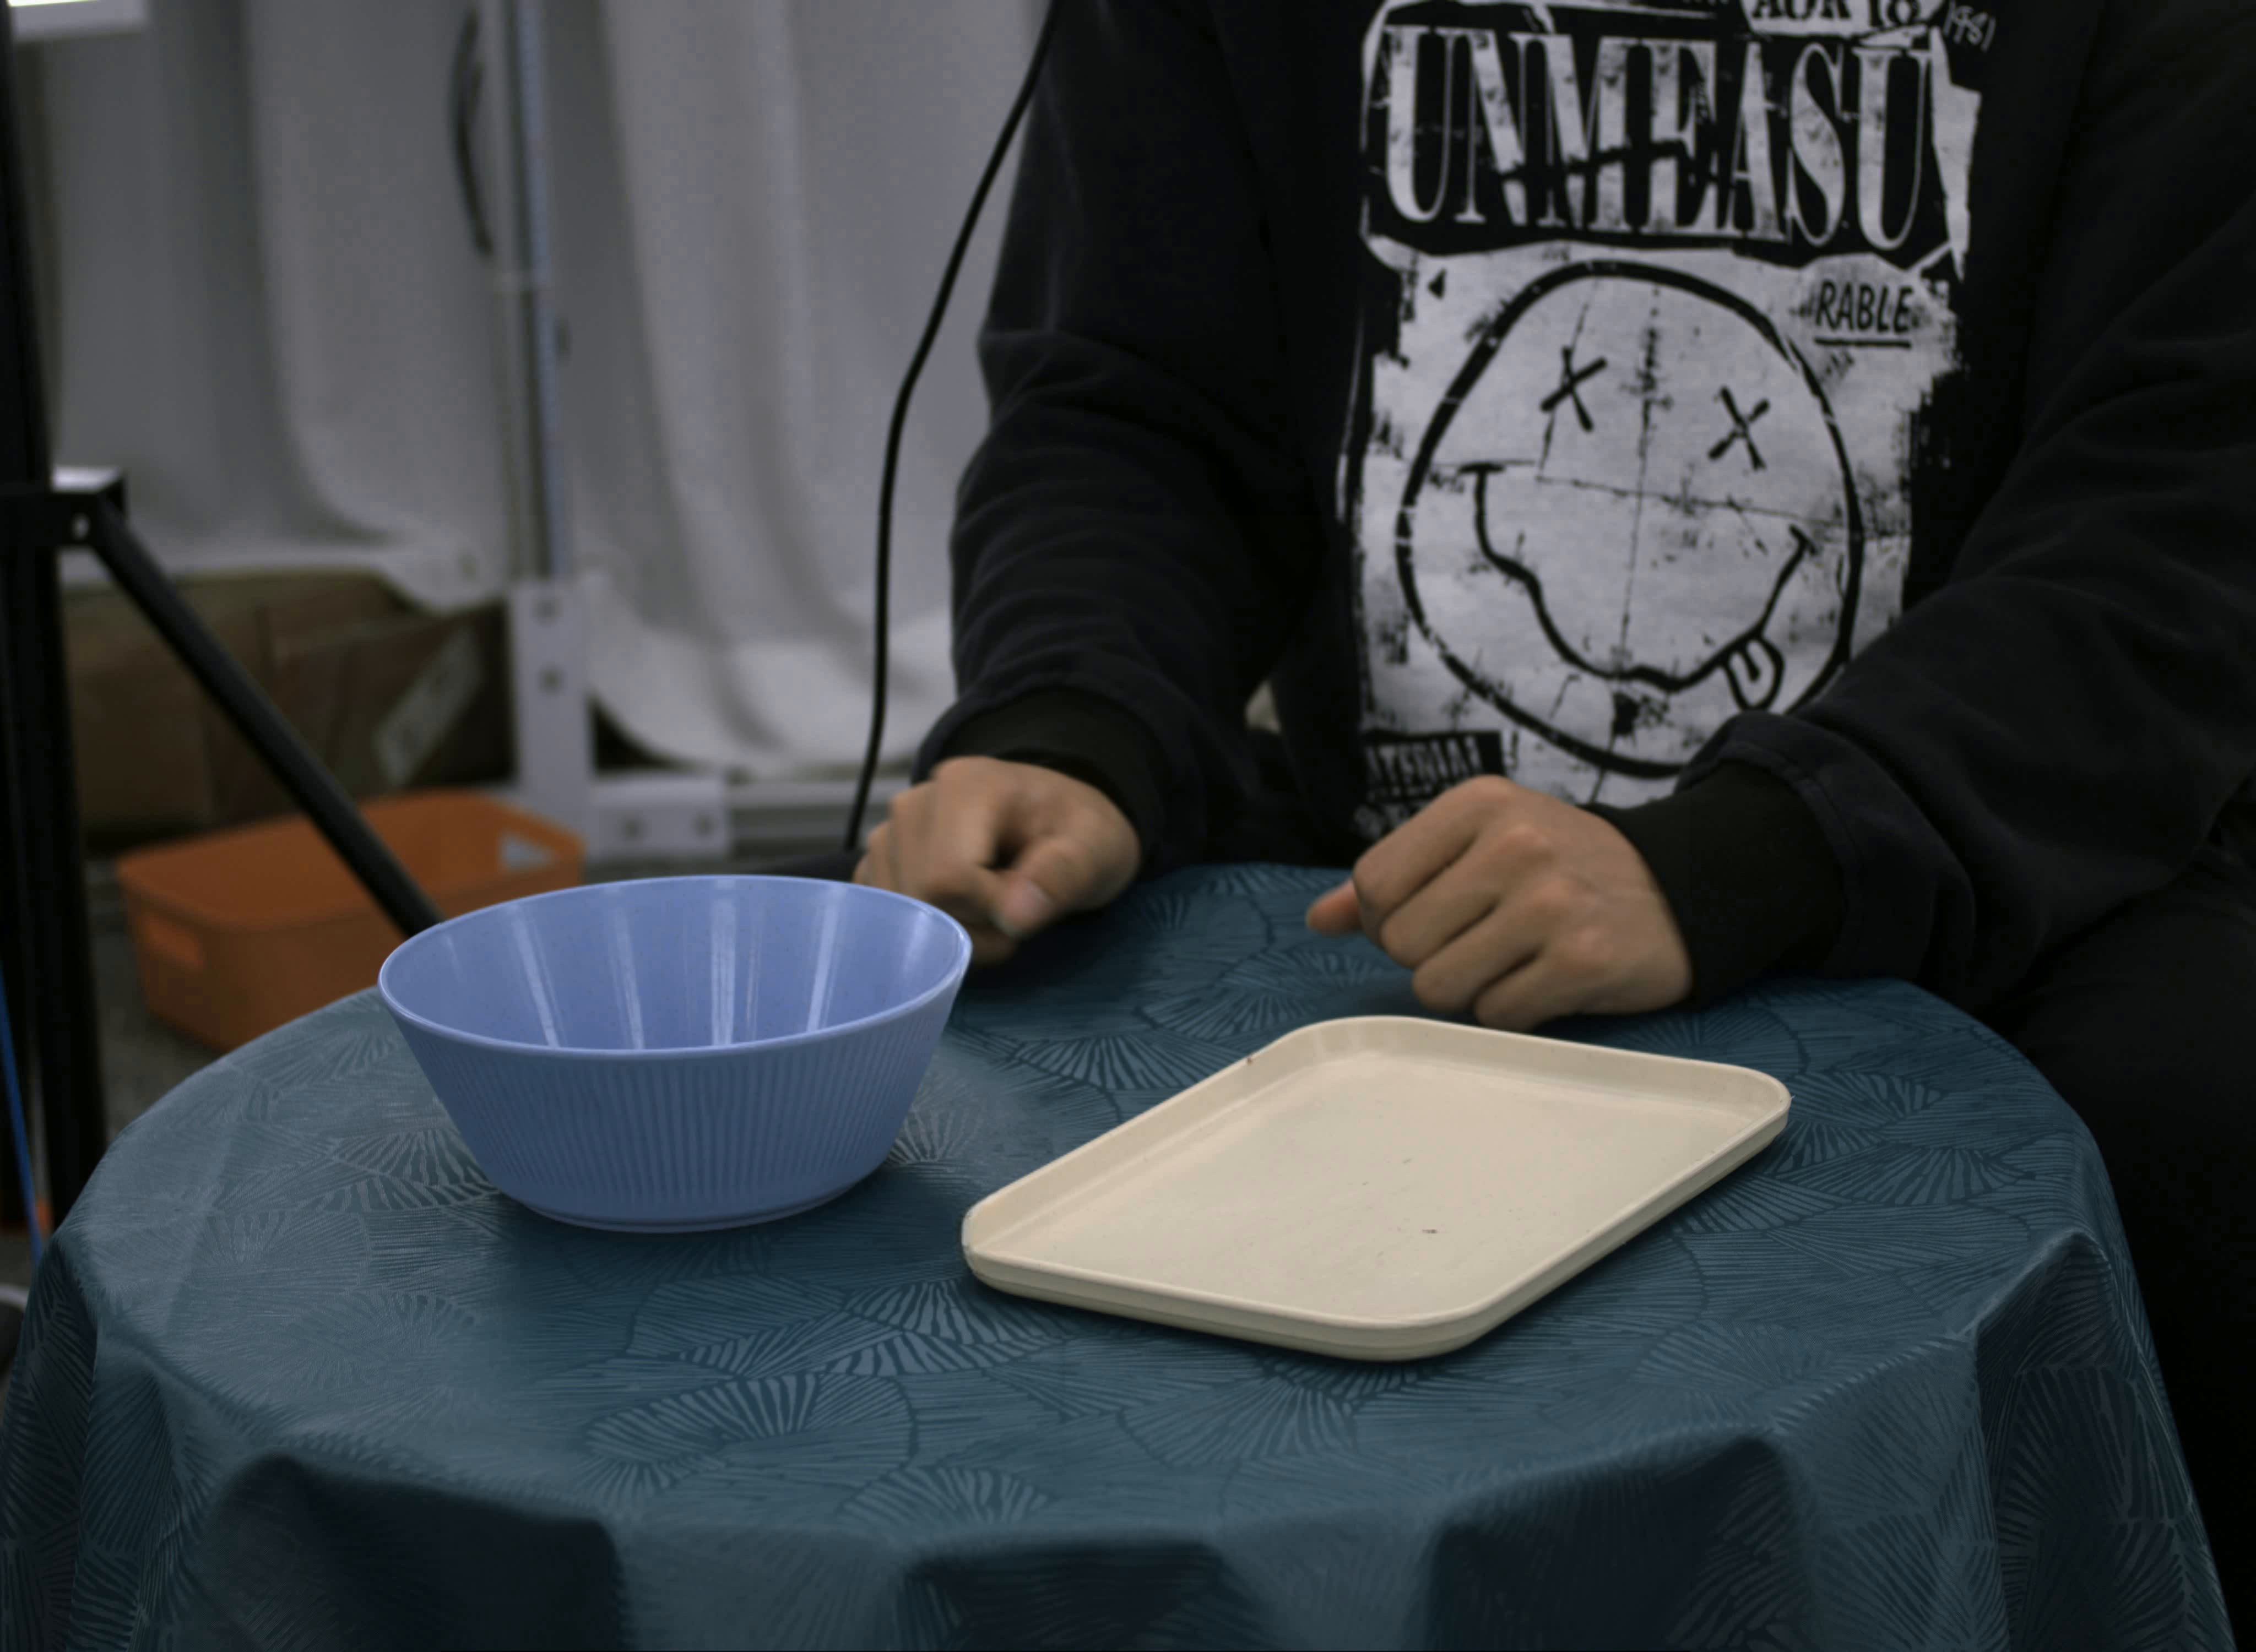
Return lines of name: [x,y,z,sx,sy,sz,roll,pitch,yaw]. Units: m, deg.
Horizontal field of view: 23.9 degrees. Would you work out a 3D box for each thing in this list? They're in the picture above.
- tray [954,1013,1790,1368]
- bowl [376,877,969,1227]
tray: [0.074,0.104,1.529,0.174,0.017,0.235,9,19,33]
bowl: [-0.134,0.070,1.586,0.175,0.070,0.177,-2,16,-1]
